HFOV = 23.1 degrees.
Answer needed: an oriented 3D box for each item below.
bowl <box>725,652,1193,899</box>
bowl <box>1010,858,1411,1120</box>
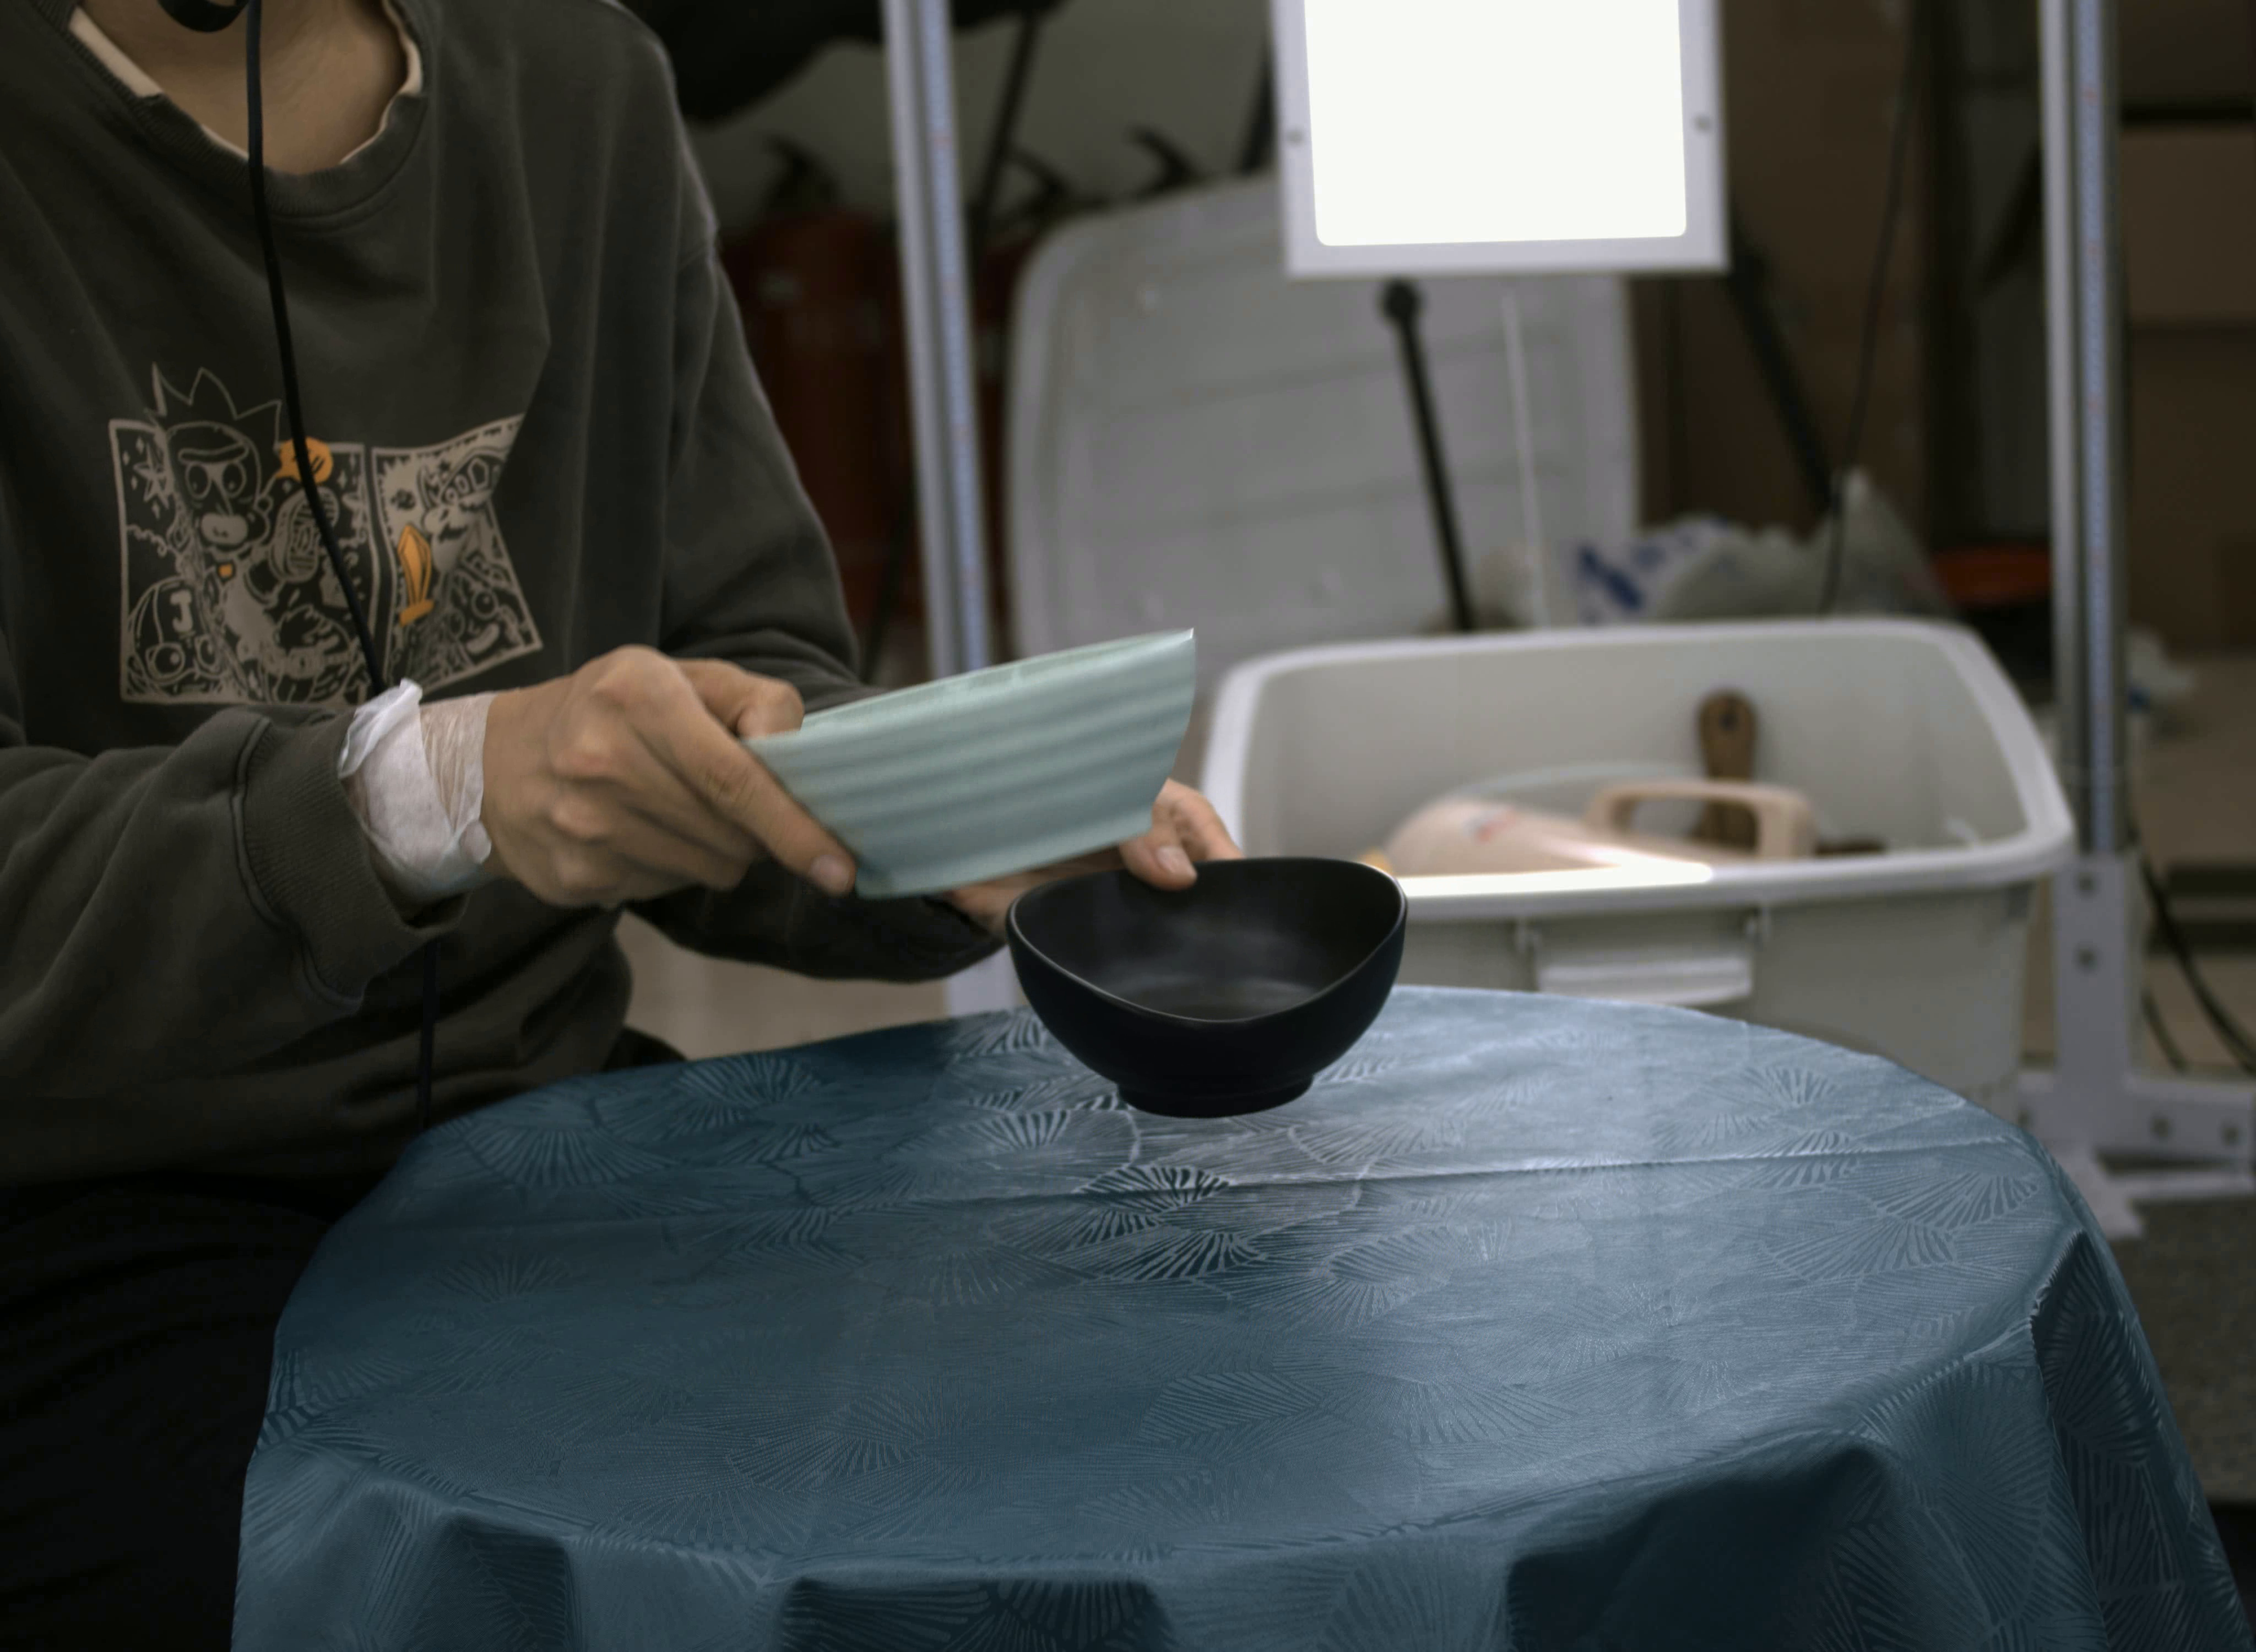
[{"bbox_3d":[-0.048,-0.013,1.710,0.151,0.059,0.151,-11,4,-1],"label":"bowl"},{"bbox_3d":[0.031,0.059,1.879,0.136,0.067,0.170,-6,16,-4],"label":"bowl"}]
